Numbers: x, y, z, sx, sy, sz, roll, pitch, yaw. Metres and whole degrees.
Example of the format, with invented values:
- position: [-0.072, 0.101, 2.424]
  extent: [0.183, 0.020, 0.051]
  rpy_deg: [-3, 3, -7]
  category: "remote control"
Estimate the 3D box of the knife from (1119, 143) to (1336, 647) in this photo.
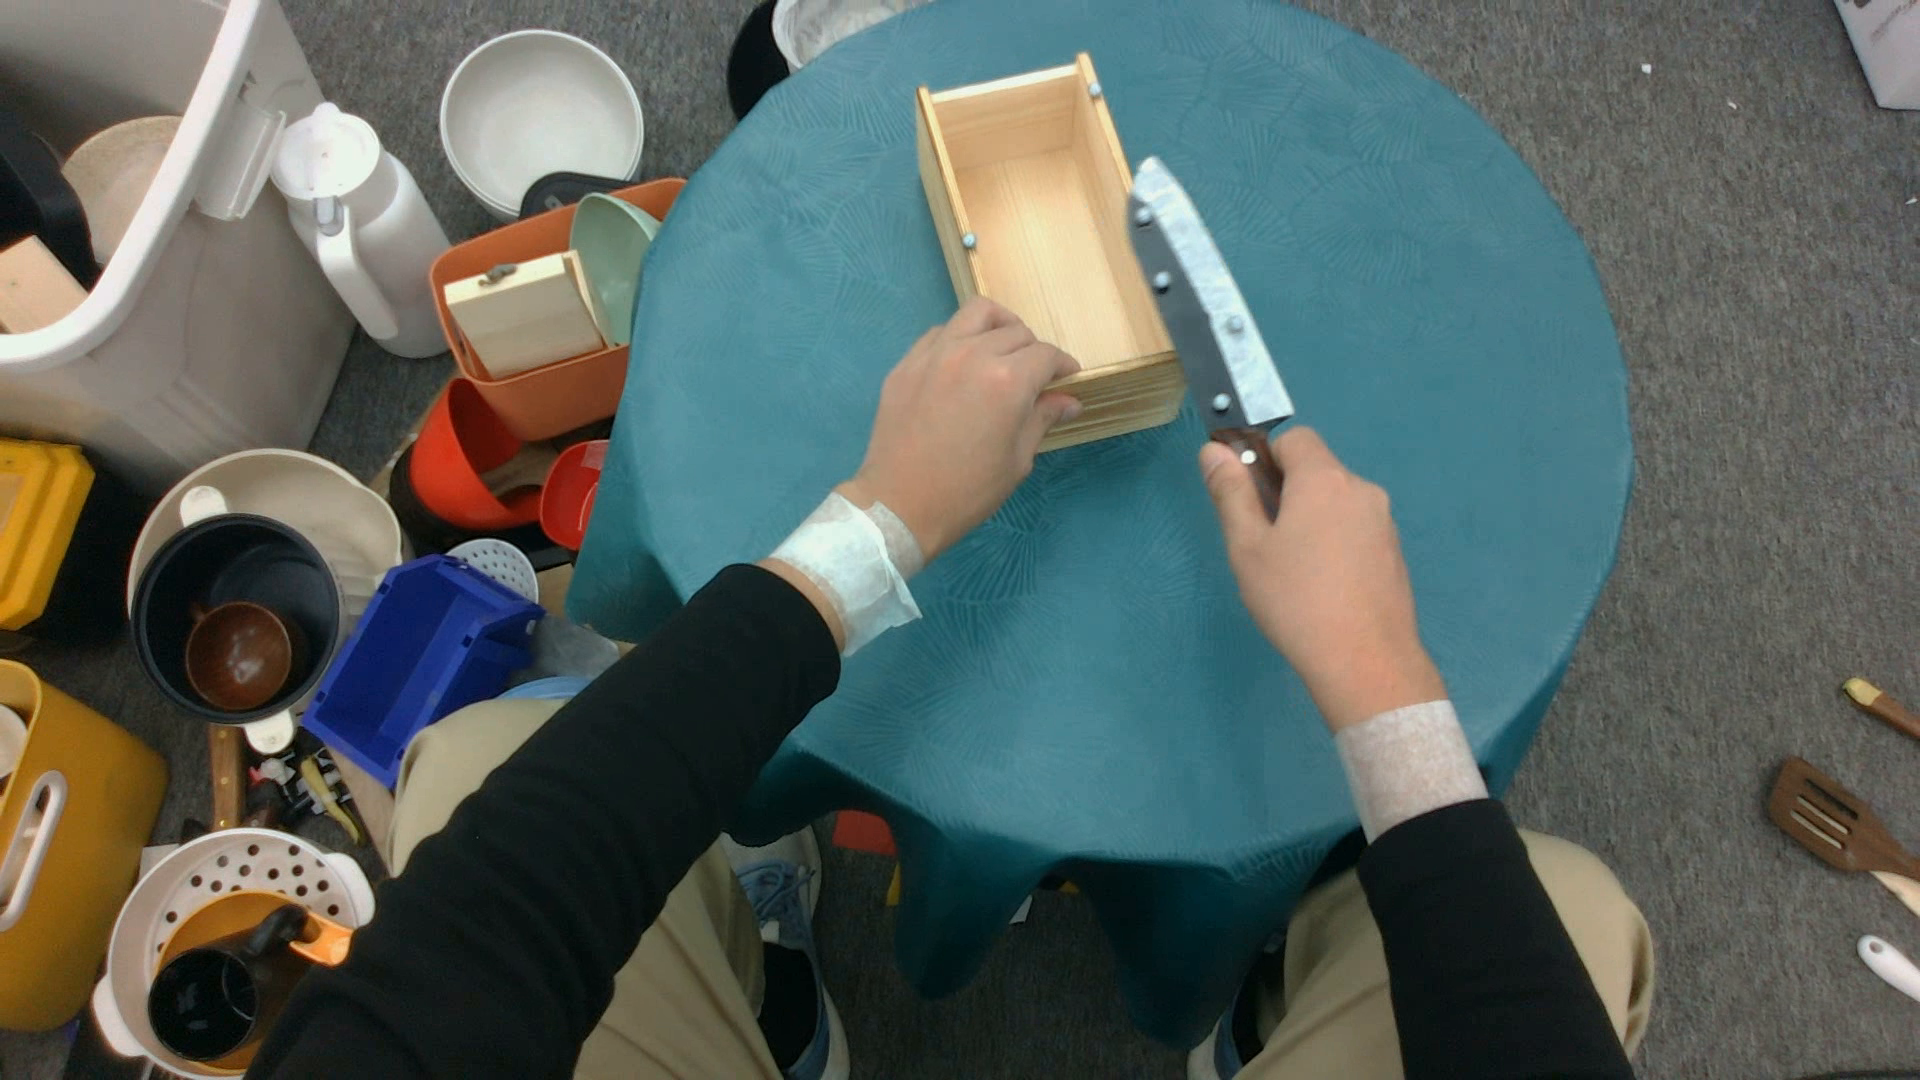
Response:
- position: [0.134, -0.083, 0.701]
  extent: [0.050, 0.020, 0.290]
  rpy_deg: [-13, 70, -3]
  category: "knife"

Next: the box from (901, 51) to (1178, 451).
- position: [0.041, -0.171, 0.811]
  extent: [0.107, 0.080, 0.212]
  rpy_deg: [-13, 68, -6]
  category: "box"
